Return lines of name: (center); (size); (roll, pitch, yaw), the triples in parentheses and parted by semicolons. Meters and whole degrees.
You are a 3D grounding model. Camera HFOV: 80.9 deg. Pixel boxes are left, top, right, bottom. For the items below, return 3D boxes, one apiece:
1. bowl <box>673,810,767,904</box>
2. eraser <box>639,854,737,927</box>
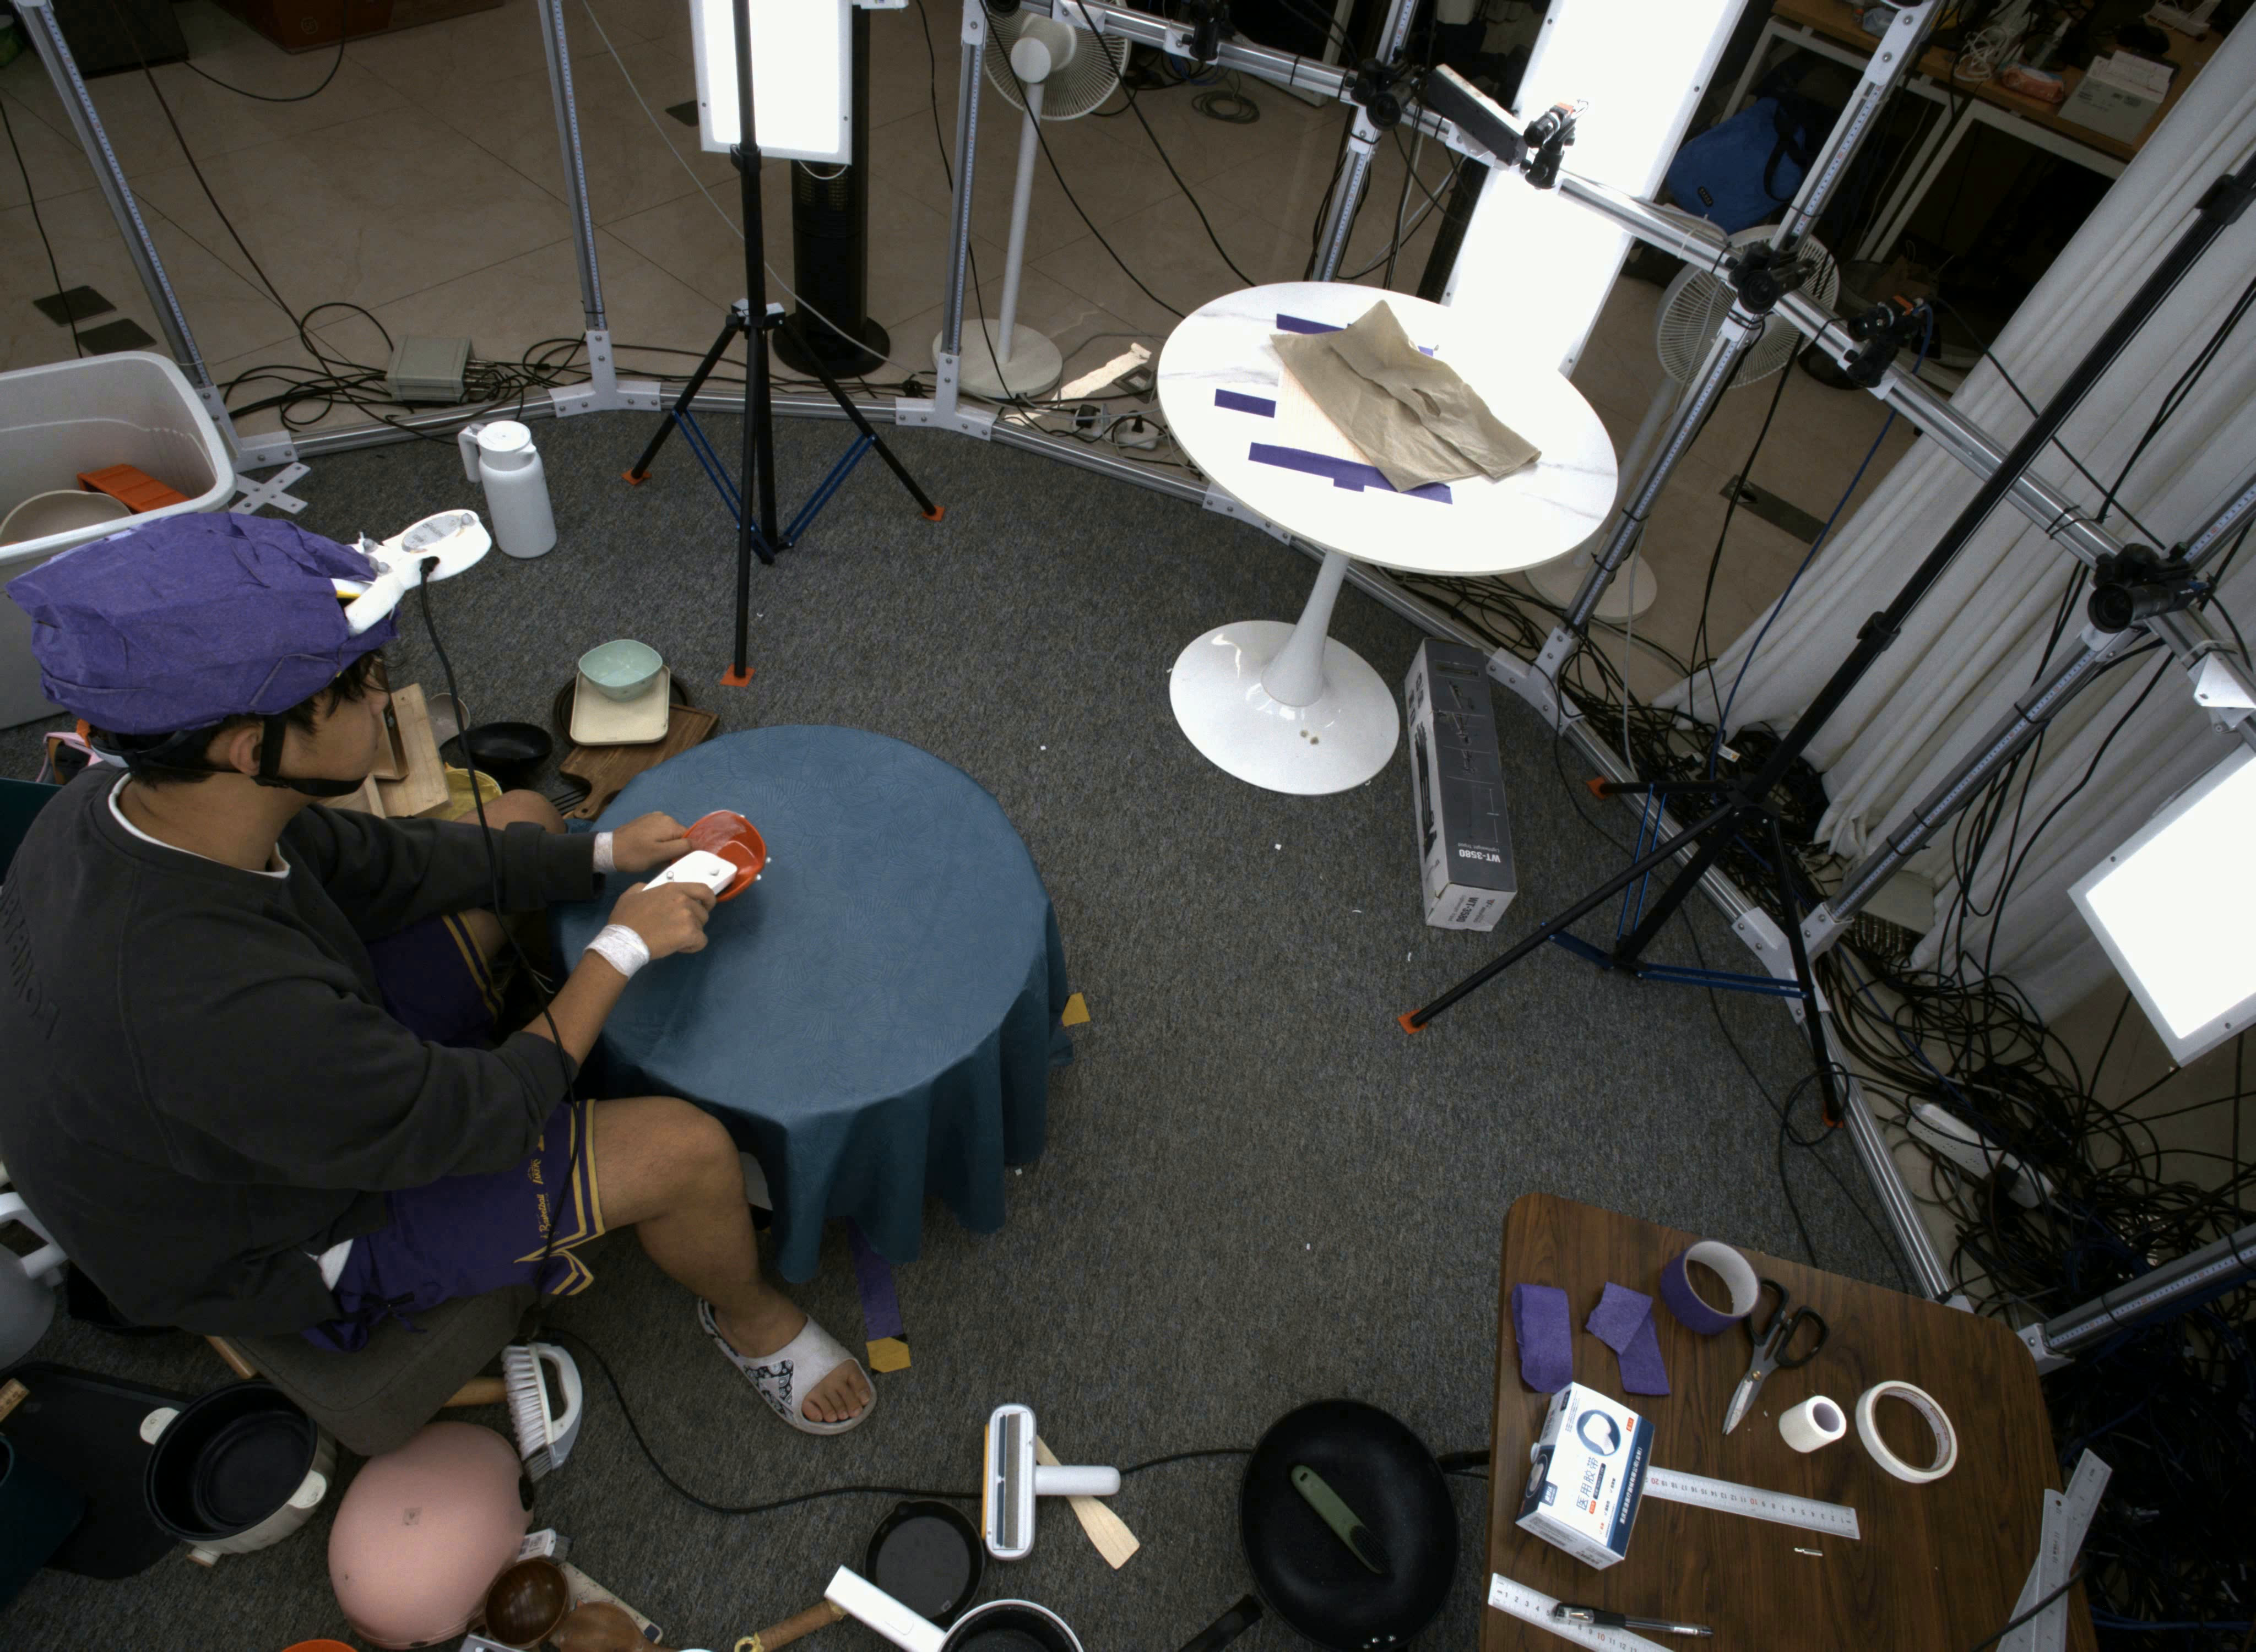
bowl: (-0.501, 0.043, 1.607); (0.117, 0.052, 0.118); (-1, 70, 3)
eraser: (-0.528, 0.071, 1.545); (0.062, 0.035, 0.131); (24, 29, 10)
